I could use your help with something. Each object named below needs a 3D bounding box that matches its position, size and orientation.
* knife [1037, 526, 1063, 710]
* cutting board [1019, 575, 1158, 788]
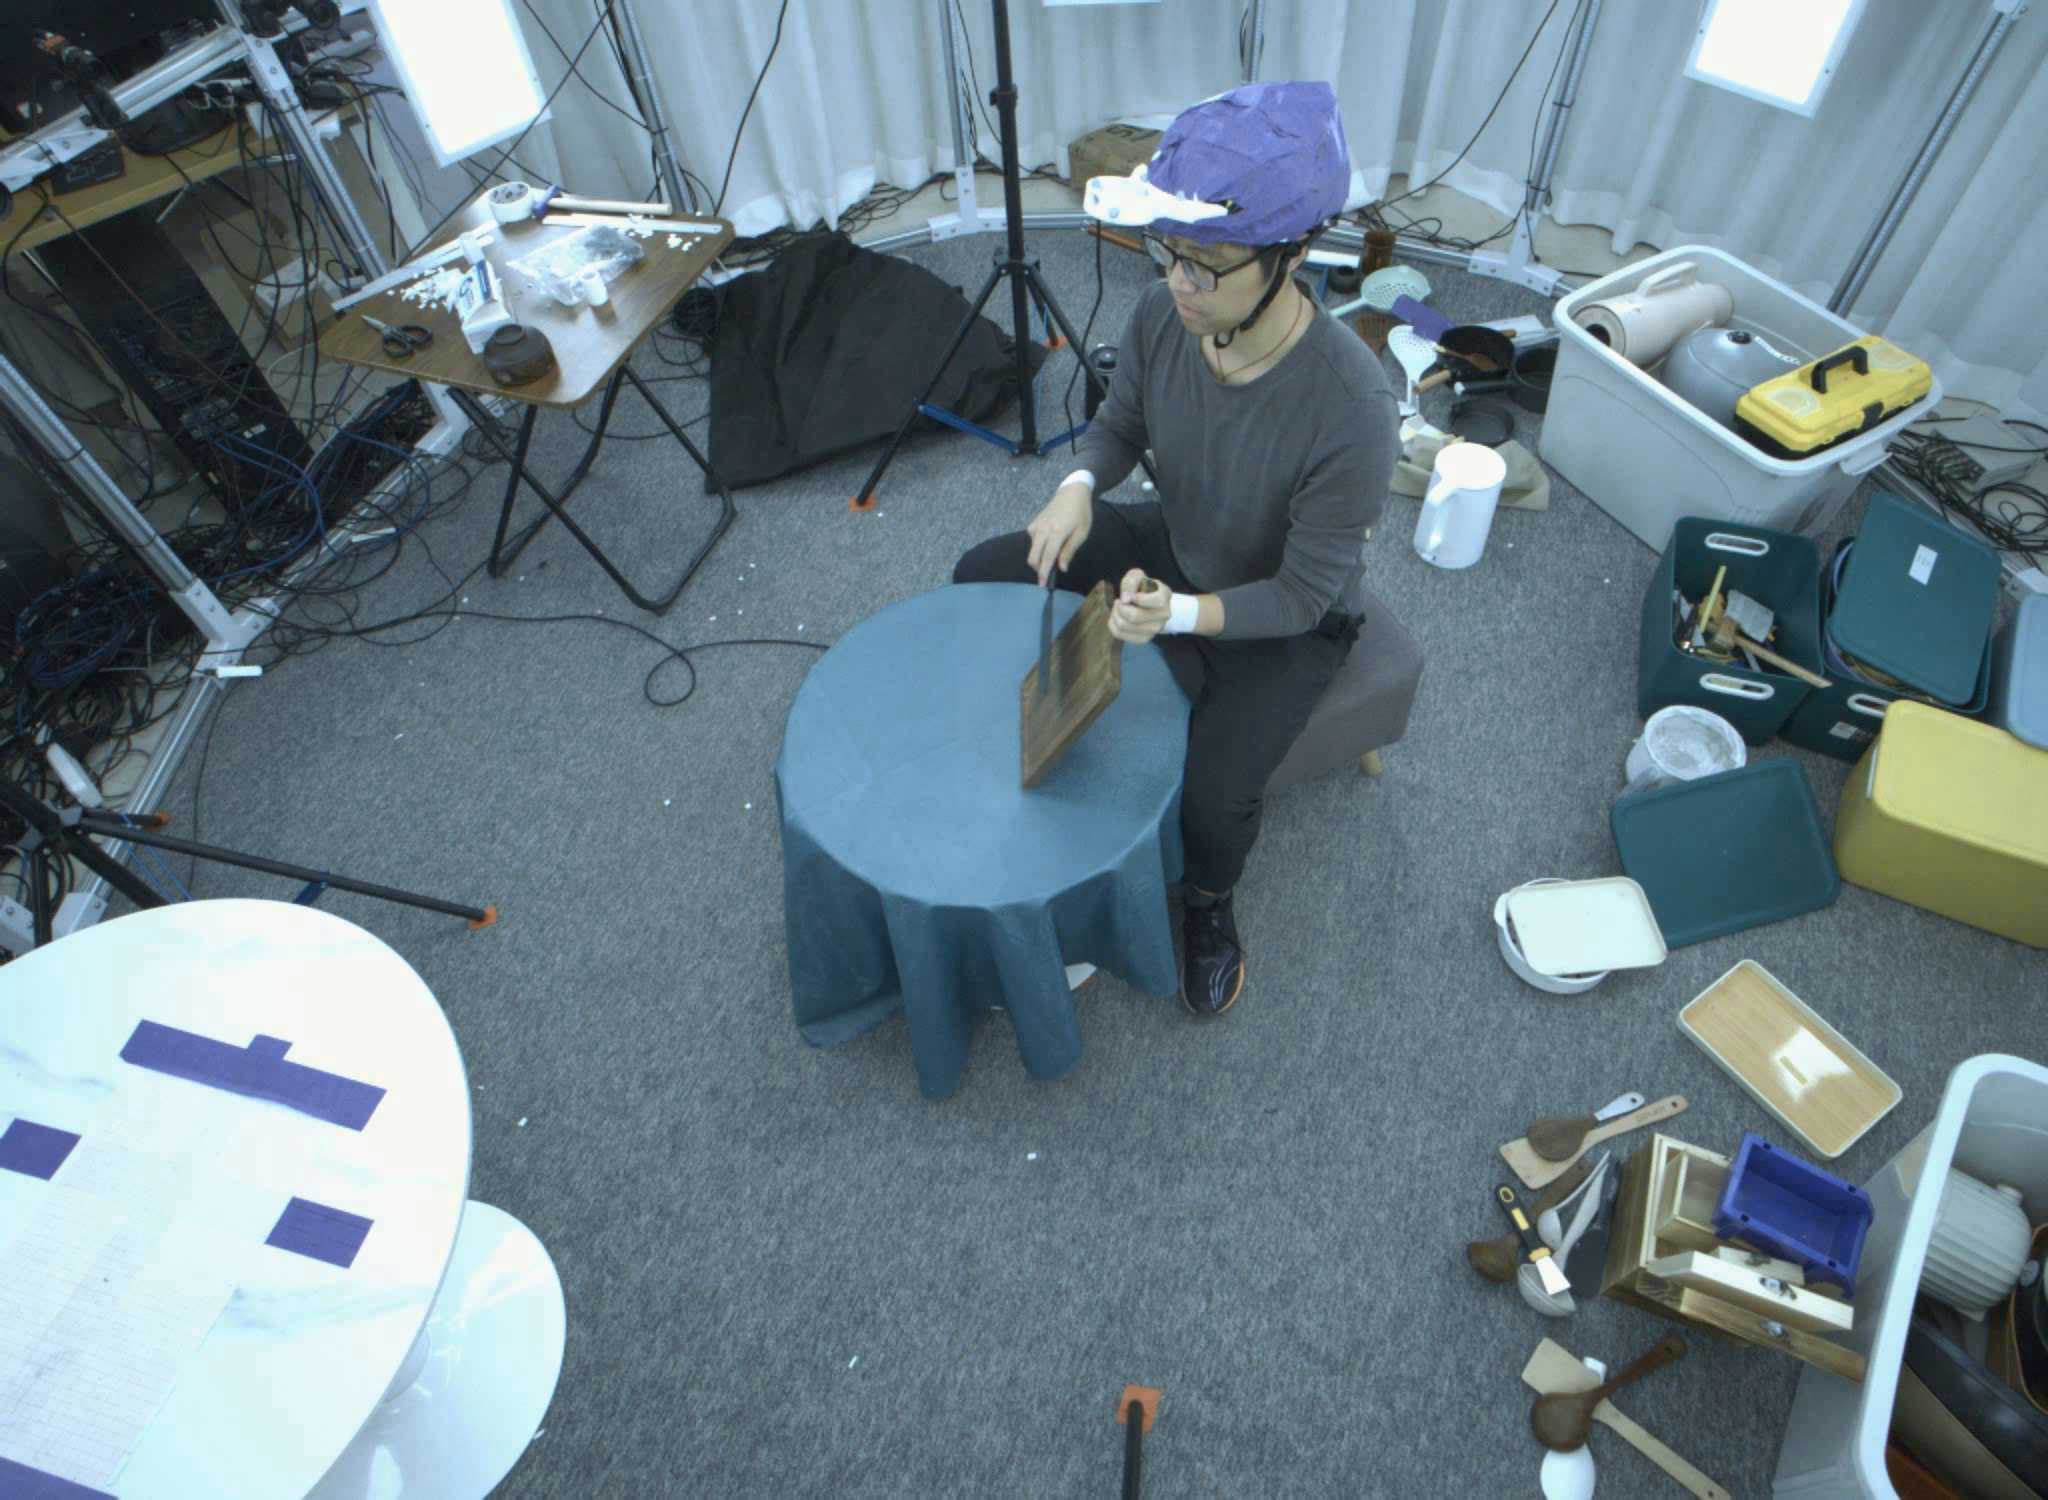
[{"bbox_3d":[0.035,-0.196,1.743,0.021,0.081,0.300,10,63,-11],"label":"knife"},{"bbox_3d":[0.082,-0.117,1.686,0.023,0.350,0.199,16,49,-23],"label":"cutting board"}]
